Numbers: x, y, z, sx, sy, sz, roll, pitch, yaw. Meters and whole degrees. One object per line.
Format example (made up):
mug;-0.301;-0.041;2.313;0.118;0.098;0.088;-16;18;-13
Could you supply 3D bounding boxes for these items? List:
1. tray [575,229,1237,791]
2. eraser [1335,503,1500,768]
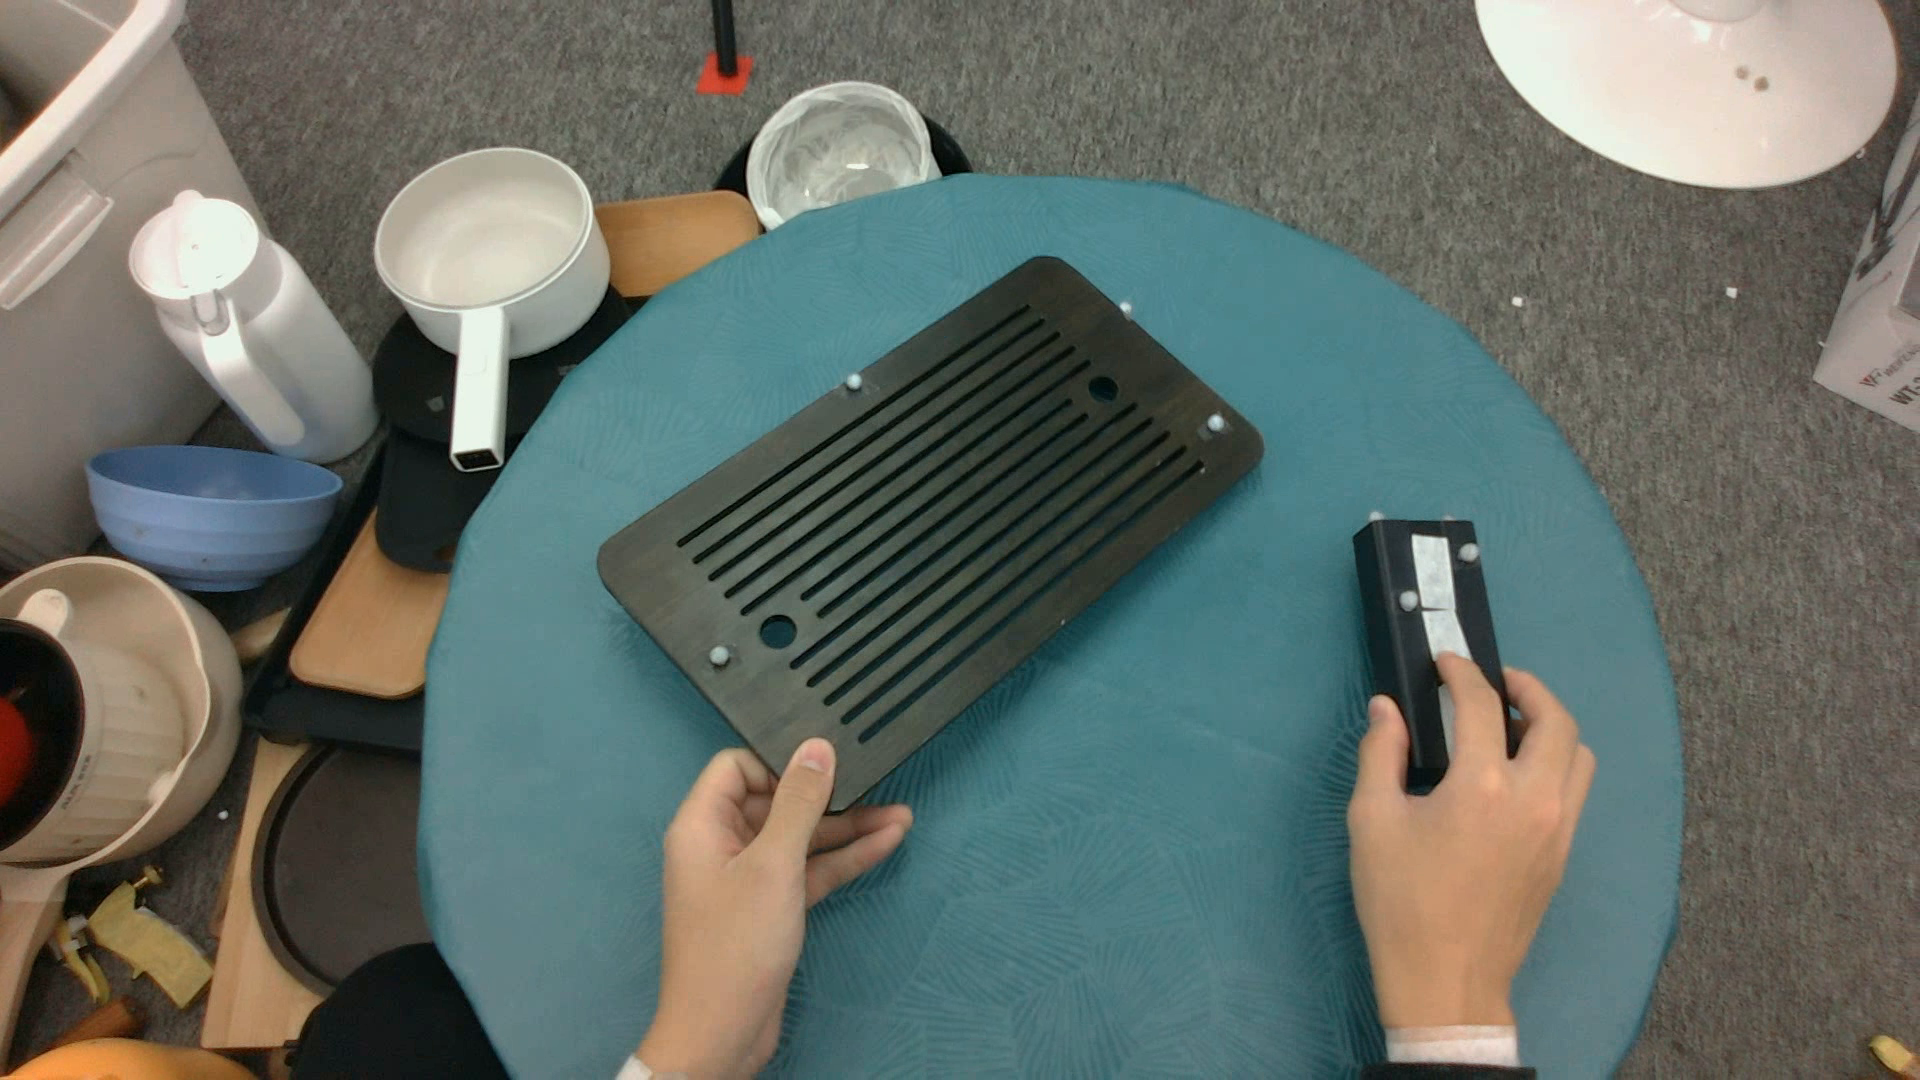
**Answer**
tray;-0.017;-0.029;0.675;0.307;0.018;0.170;-39;73;-25
eraser;0.213;0.044;0.650;0.053;0.030;0.126;-1;66;-3
